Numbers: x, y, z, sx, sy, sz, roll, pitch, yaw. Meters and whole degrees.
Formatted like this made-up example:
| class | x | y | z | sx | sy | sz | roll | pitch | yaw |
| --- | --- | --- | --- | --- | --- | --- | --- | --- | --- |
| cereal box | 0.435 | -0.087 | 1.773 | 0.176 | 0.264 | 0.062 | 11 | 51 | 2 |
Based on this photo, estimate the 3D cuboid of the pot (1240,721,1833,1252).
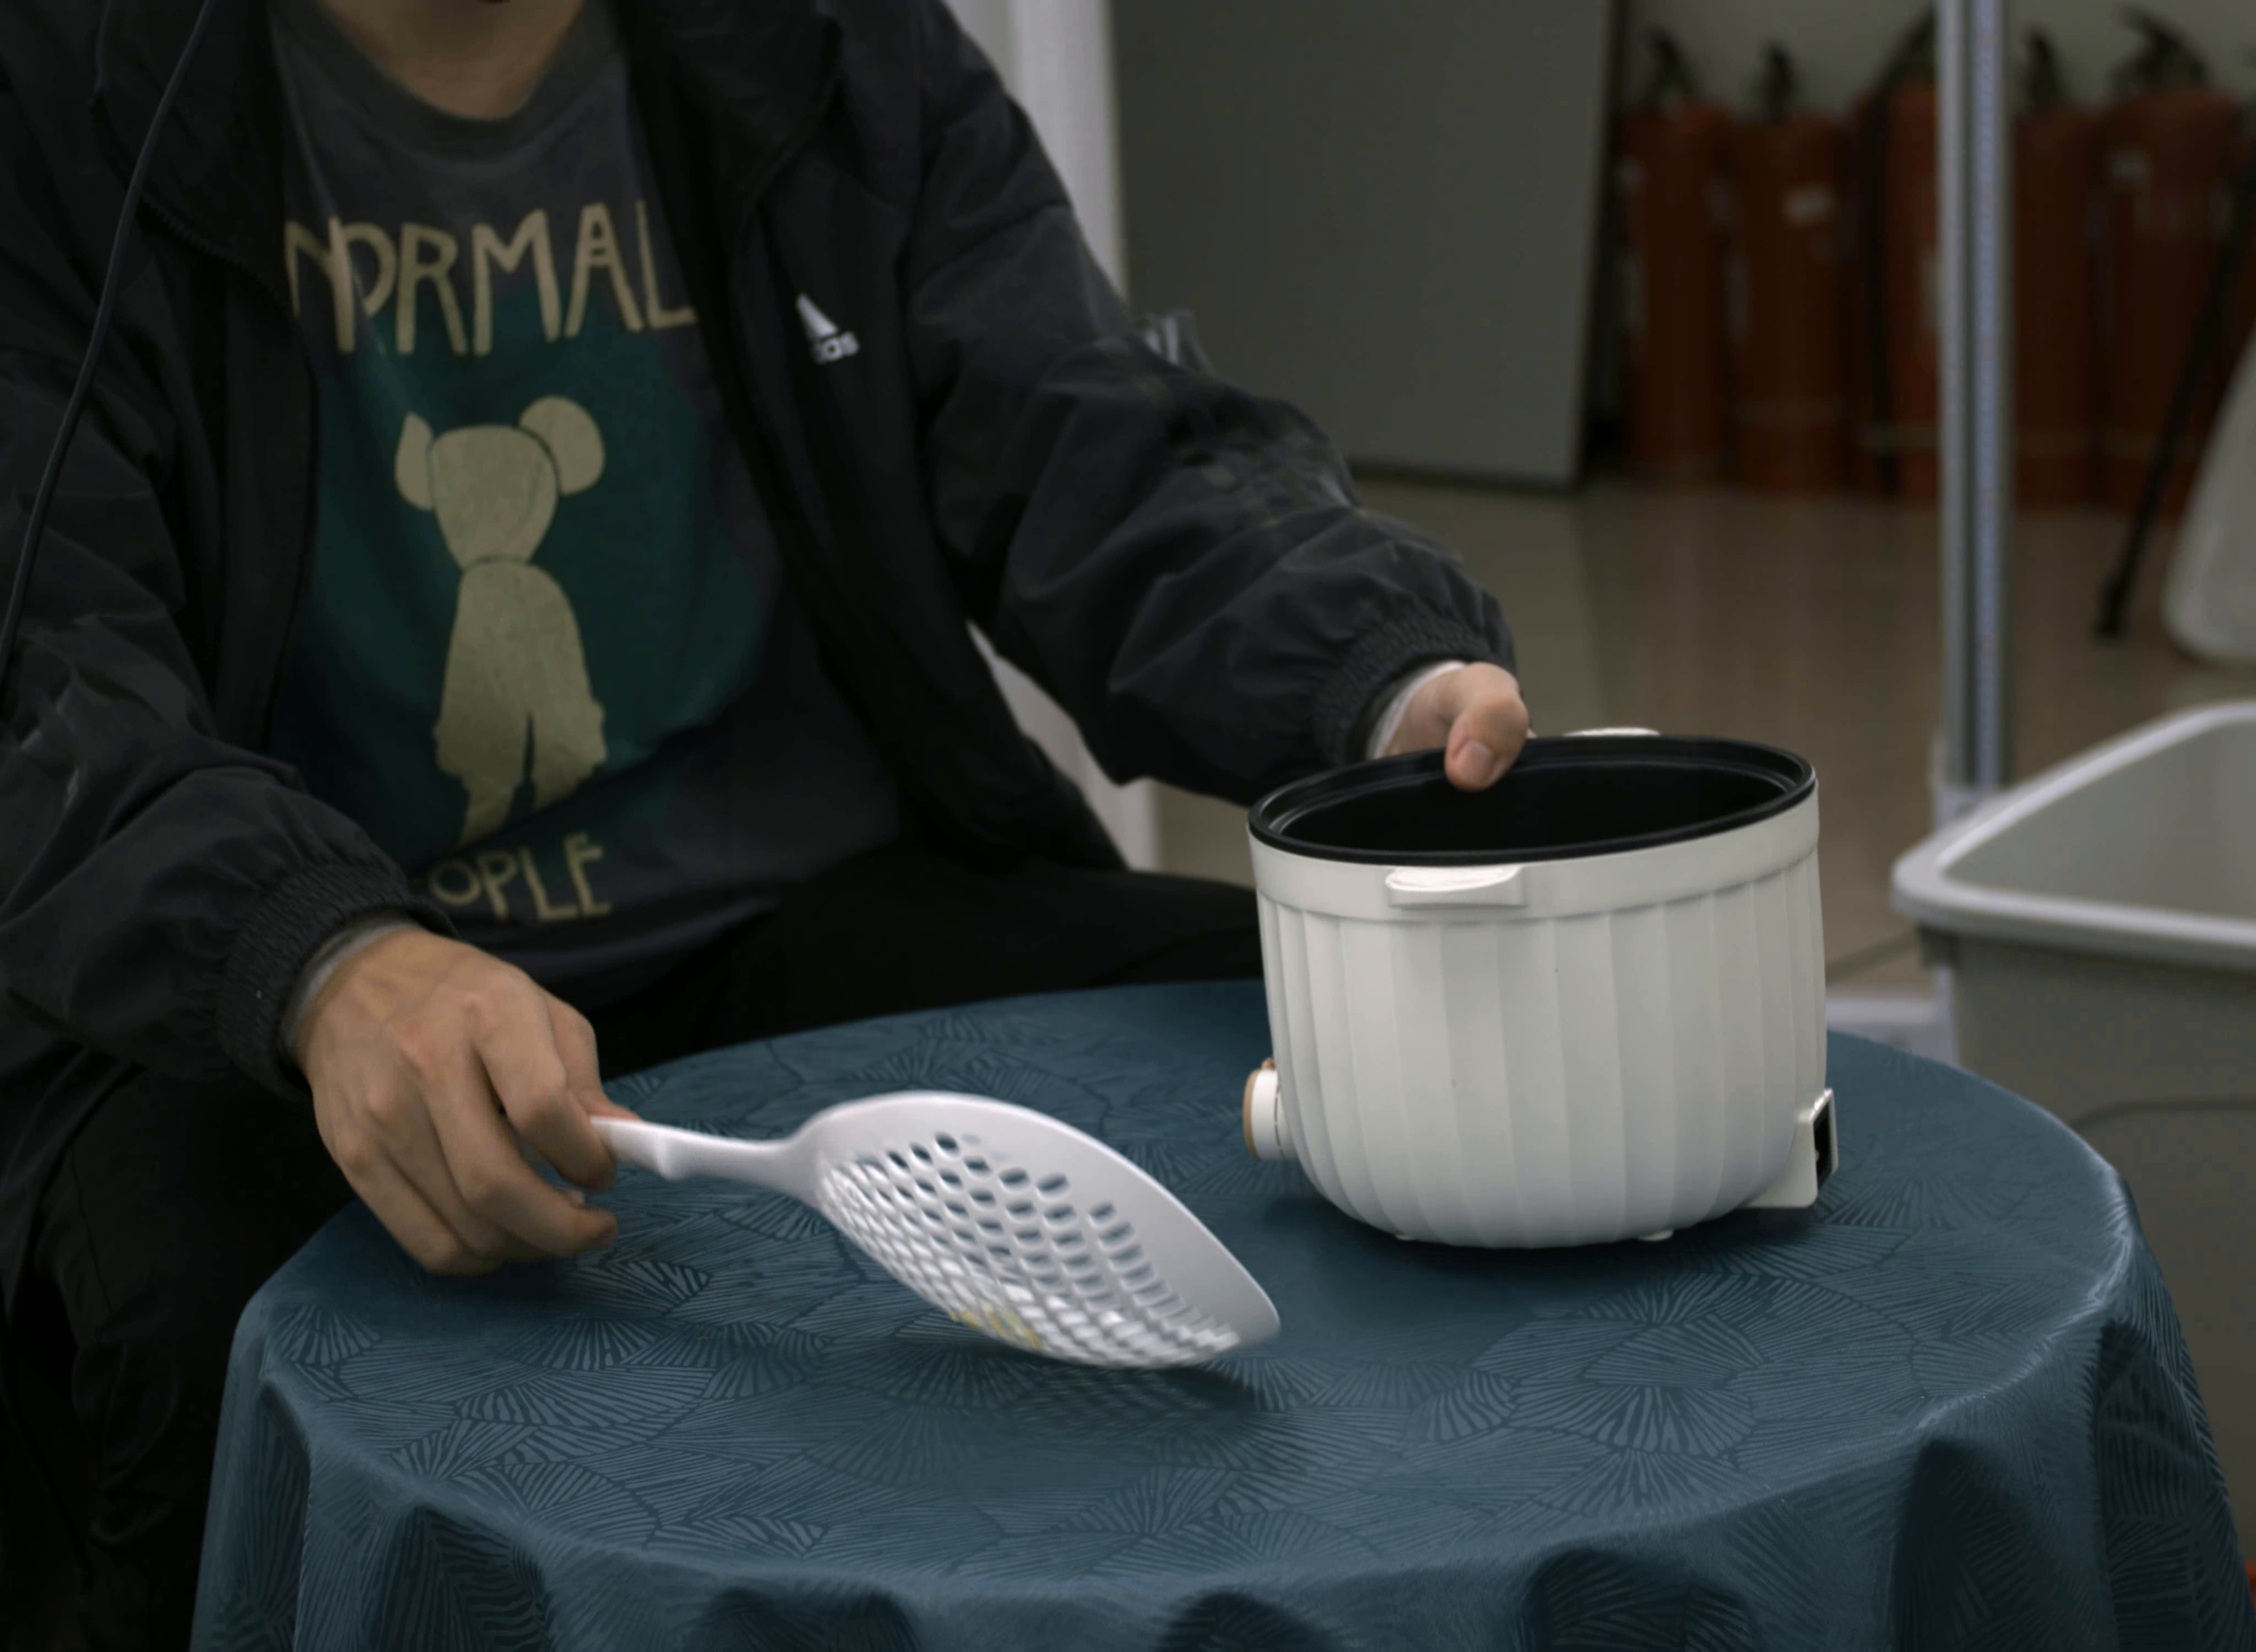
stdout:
| class | x | y | z | sx | sy | sz | roll | pitch | yaw |
| --- | --- | --- | --- | --- | --- | --- | --- | --- | --- |
| pot | 0.127 | 0.053 | 1.708 | 0.190 | 0.144 | 0.238 | 2 | 12 | 18 |

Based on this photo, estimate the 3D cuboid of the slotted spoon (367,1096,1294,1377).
| class | x | y | z | sx | sy | sz | roll | pitch | yaw |
| --- | --- | --- | --- | --- | --- | --- | --- | --- | --- |
| slotted spoon | -0.102 | 0.117 | 1.637 | 0.351 | 0.135 | 0.050 | 10 | 63 | 43 |
